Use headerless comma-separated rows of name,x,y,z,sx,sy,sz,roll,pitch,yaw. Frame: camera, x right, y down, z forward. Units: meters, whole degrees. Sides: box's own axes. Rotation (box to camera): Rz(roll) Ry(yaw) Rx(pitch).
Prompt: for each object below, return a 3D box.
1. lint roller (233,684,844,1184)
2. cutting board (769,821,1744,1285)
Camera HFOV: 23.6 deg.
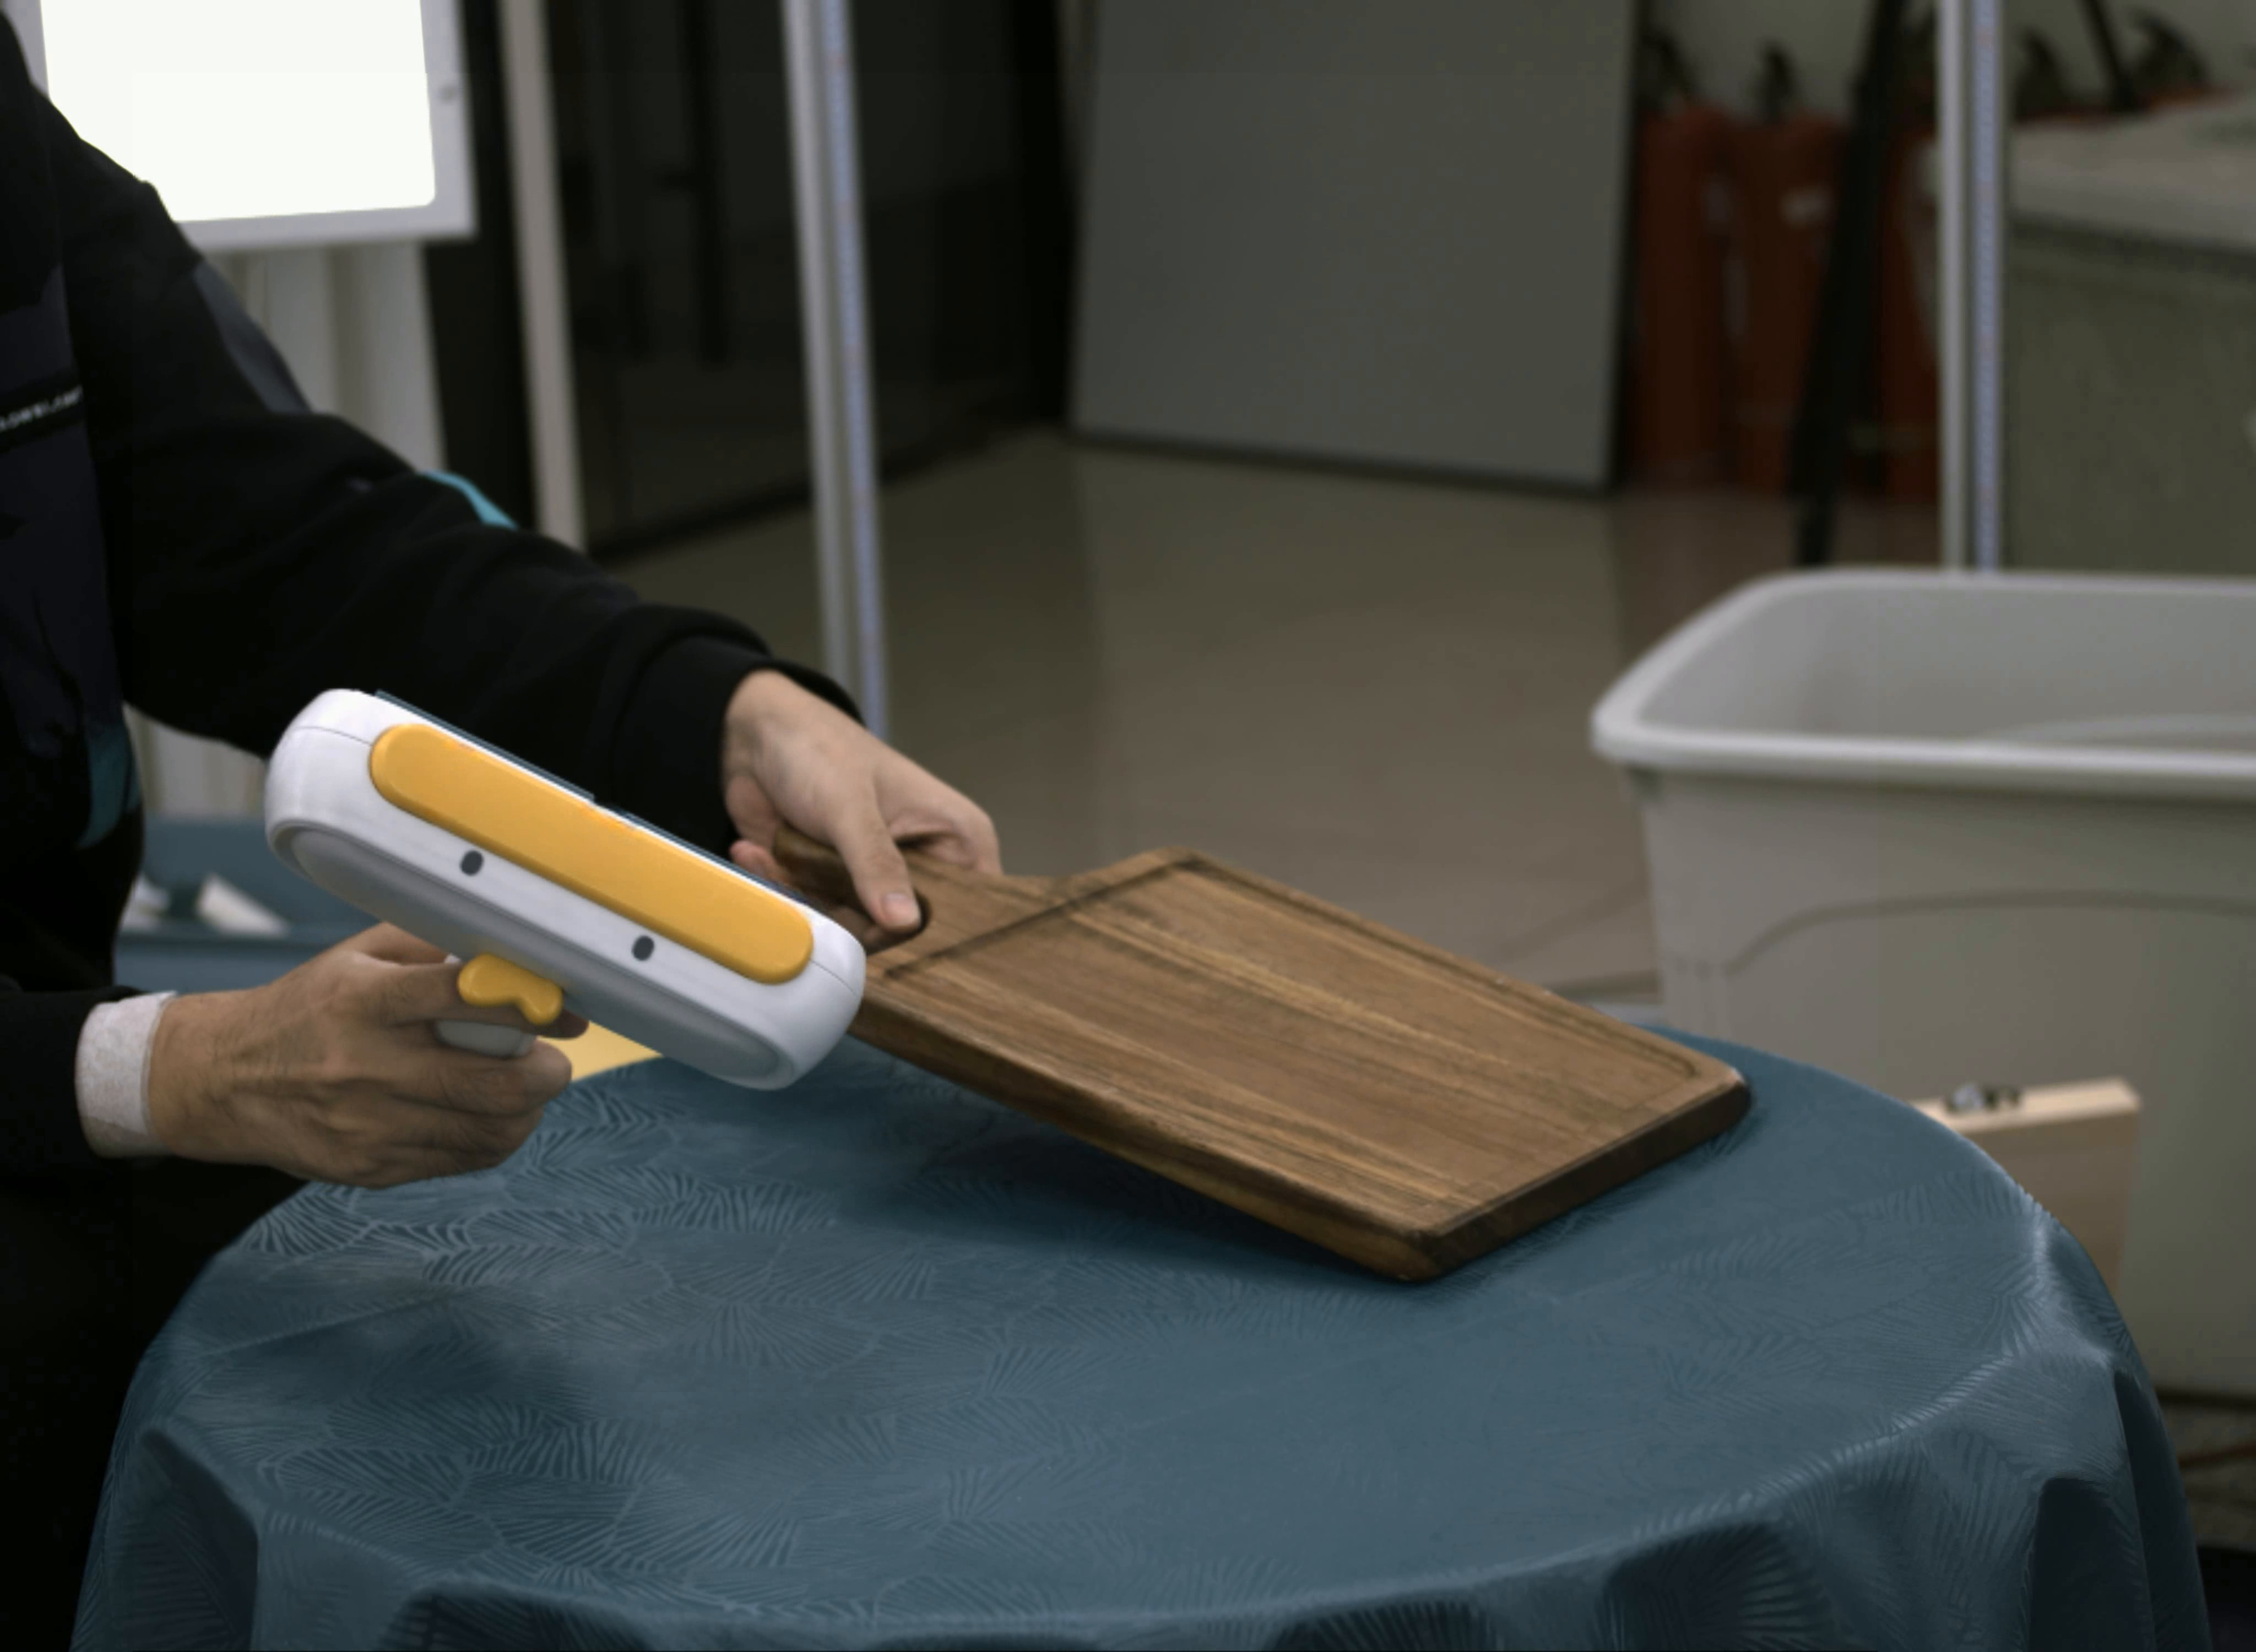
lint roller,-0.197,0.048,1.676,0.190,0.074,0.194,21,-31,-9
cutting board,0.015,0.060,1.823,0.355,0.023,0.197,21,26,34
